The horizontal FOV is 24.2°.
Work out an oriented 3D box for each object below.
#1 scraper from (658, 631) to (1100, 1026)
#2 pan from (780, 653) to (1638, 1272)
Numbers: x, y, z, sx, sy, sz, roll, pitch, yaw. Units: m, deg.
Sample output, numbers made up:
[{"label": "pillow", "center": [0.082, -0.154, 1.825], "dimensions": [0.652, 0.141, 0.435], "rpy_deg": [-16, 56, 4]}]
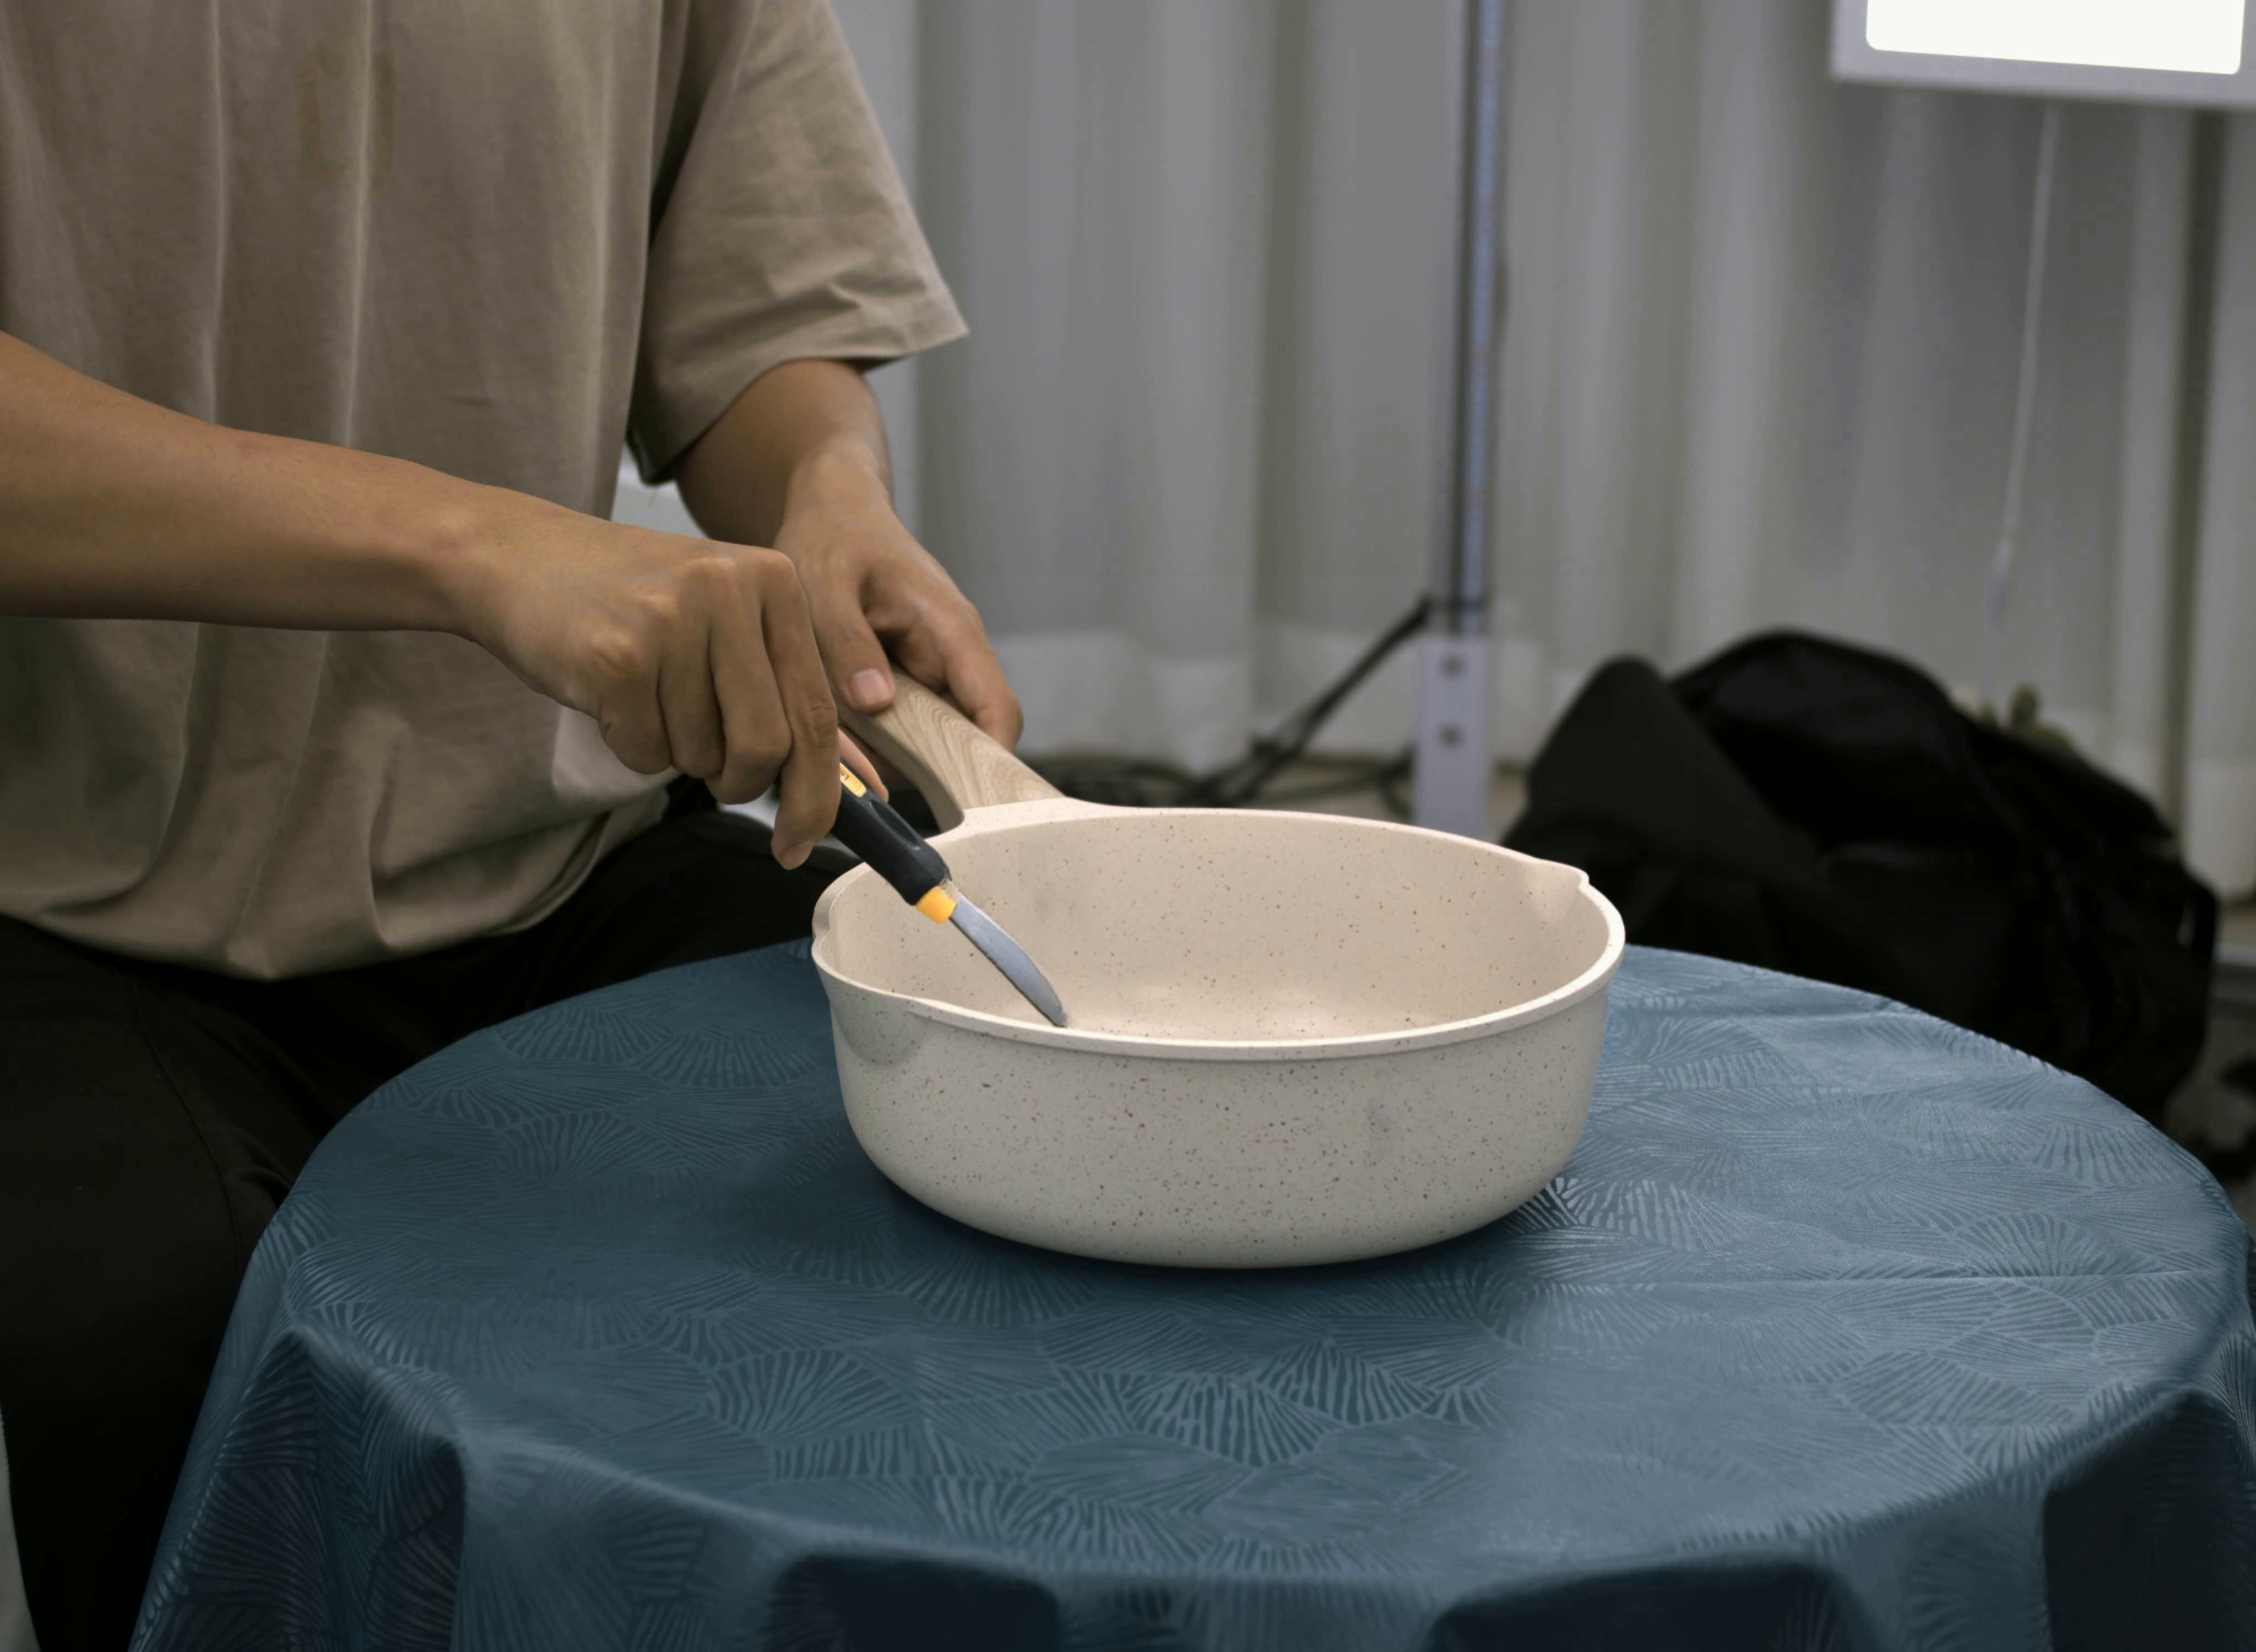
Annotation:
[{"label": "scraper", "center": [-0.076, 0.002, 1.599], "dimensions": [0.171, 0.015, 0.039], "rpy_deg": [43, 27, -6]}, {"label": "pan", "center": [-0.009, 0.038, 1.714], "dimensions": [0.264, 0.103, 0.429], "rpy_deg": [-10, 19, -26]}]
